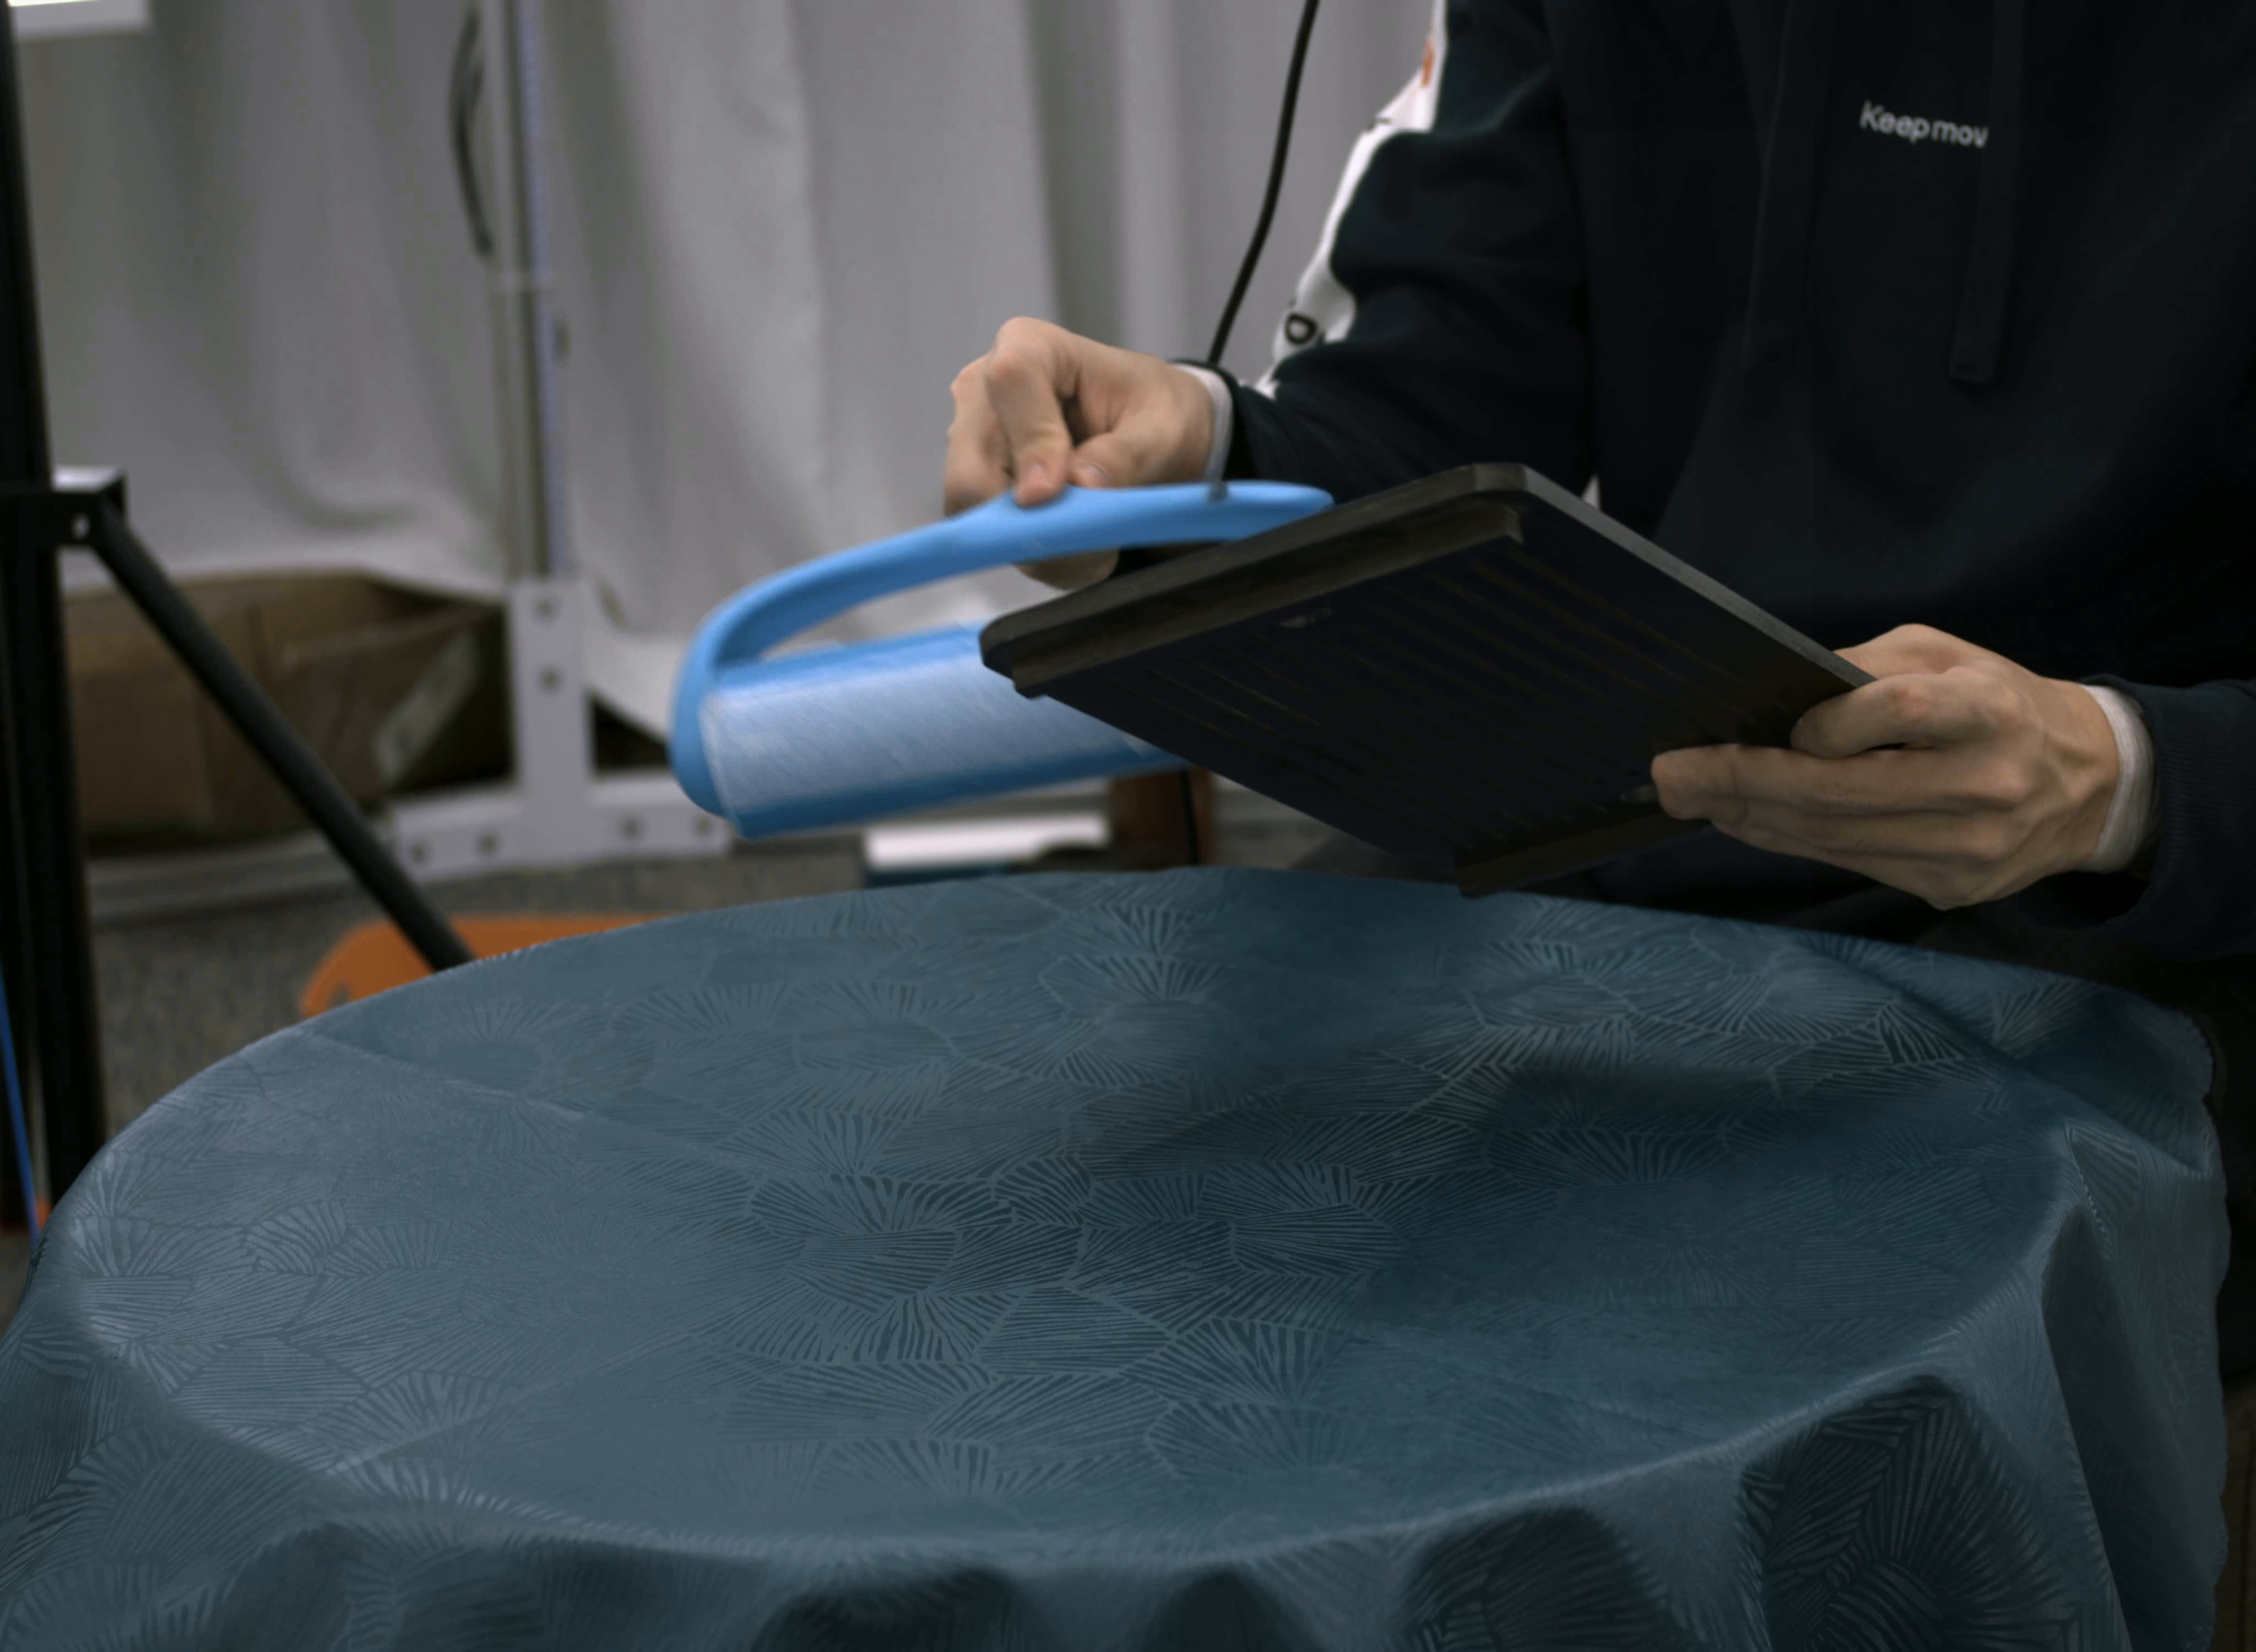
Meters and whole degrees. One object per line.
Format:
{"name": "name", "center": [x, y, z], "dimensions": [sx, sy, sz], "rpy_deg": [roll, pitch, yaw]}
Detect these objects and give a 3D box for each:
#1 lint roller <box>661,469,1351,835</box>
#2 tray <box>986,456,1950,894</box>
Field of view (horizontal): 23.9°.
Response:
{"name": "lint roller", "center": [-0.027, -0.073, 1.619], "dimensions": [0.230, 0.067, 0.181], "rpy_deg": [-13, 30, 11]}
{"name": "tray", "center": [0.105, -0.035, 1.518], "dimensions": [0.172, 0.019, 0.298], "rpy_deg": [-16, -21, 28]}
